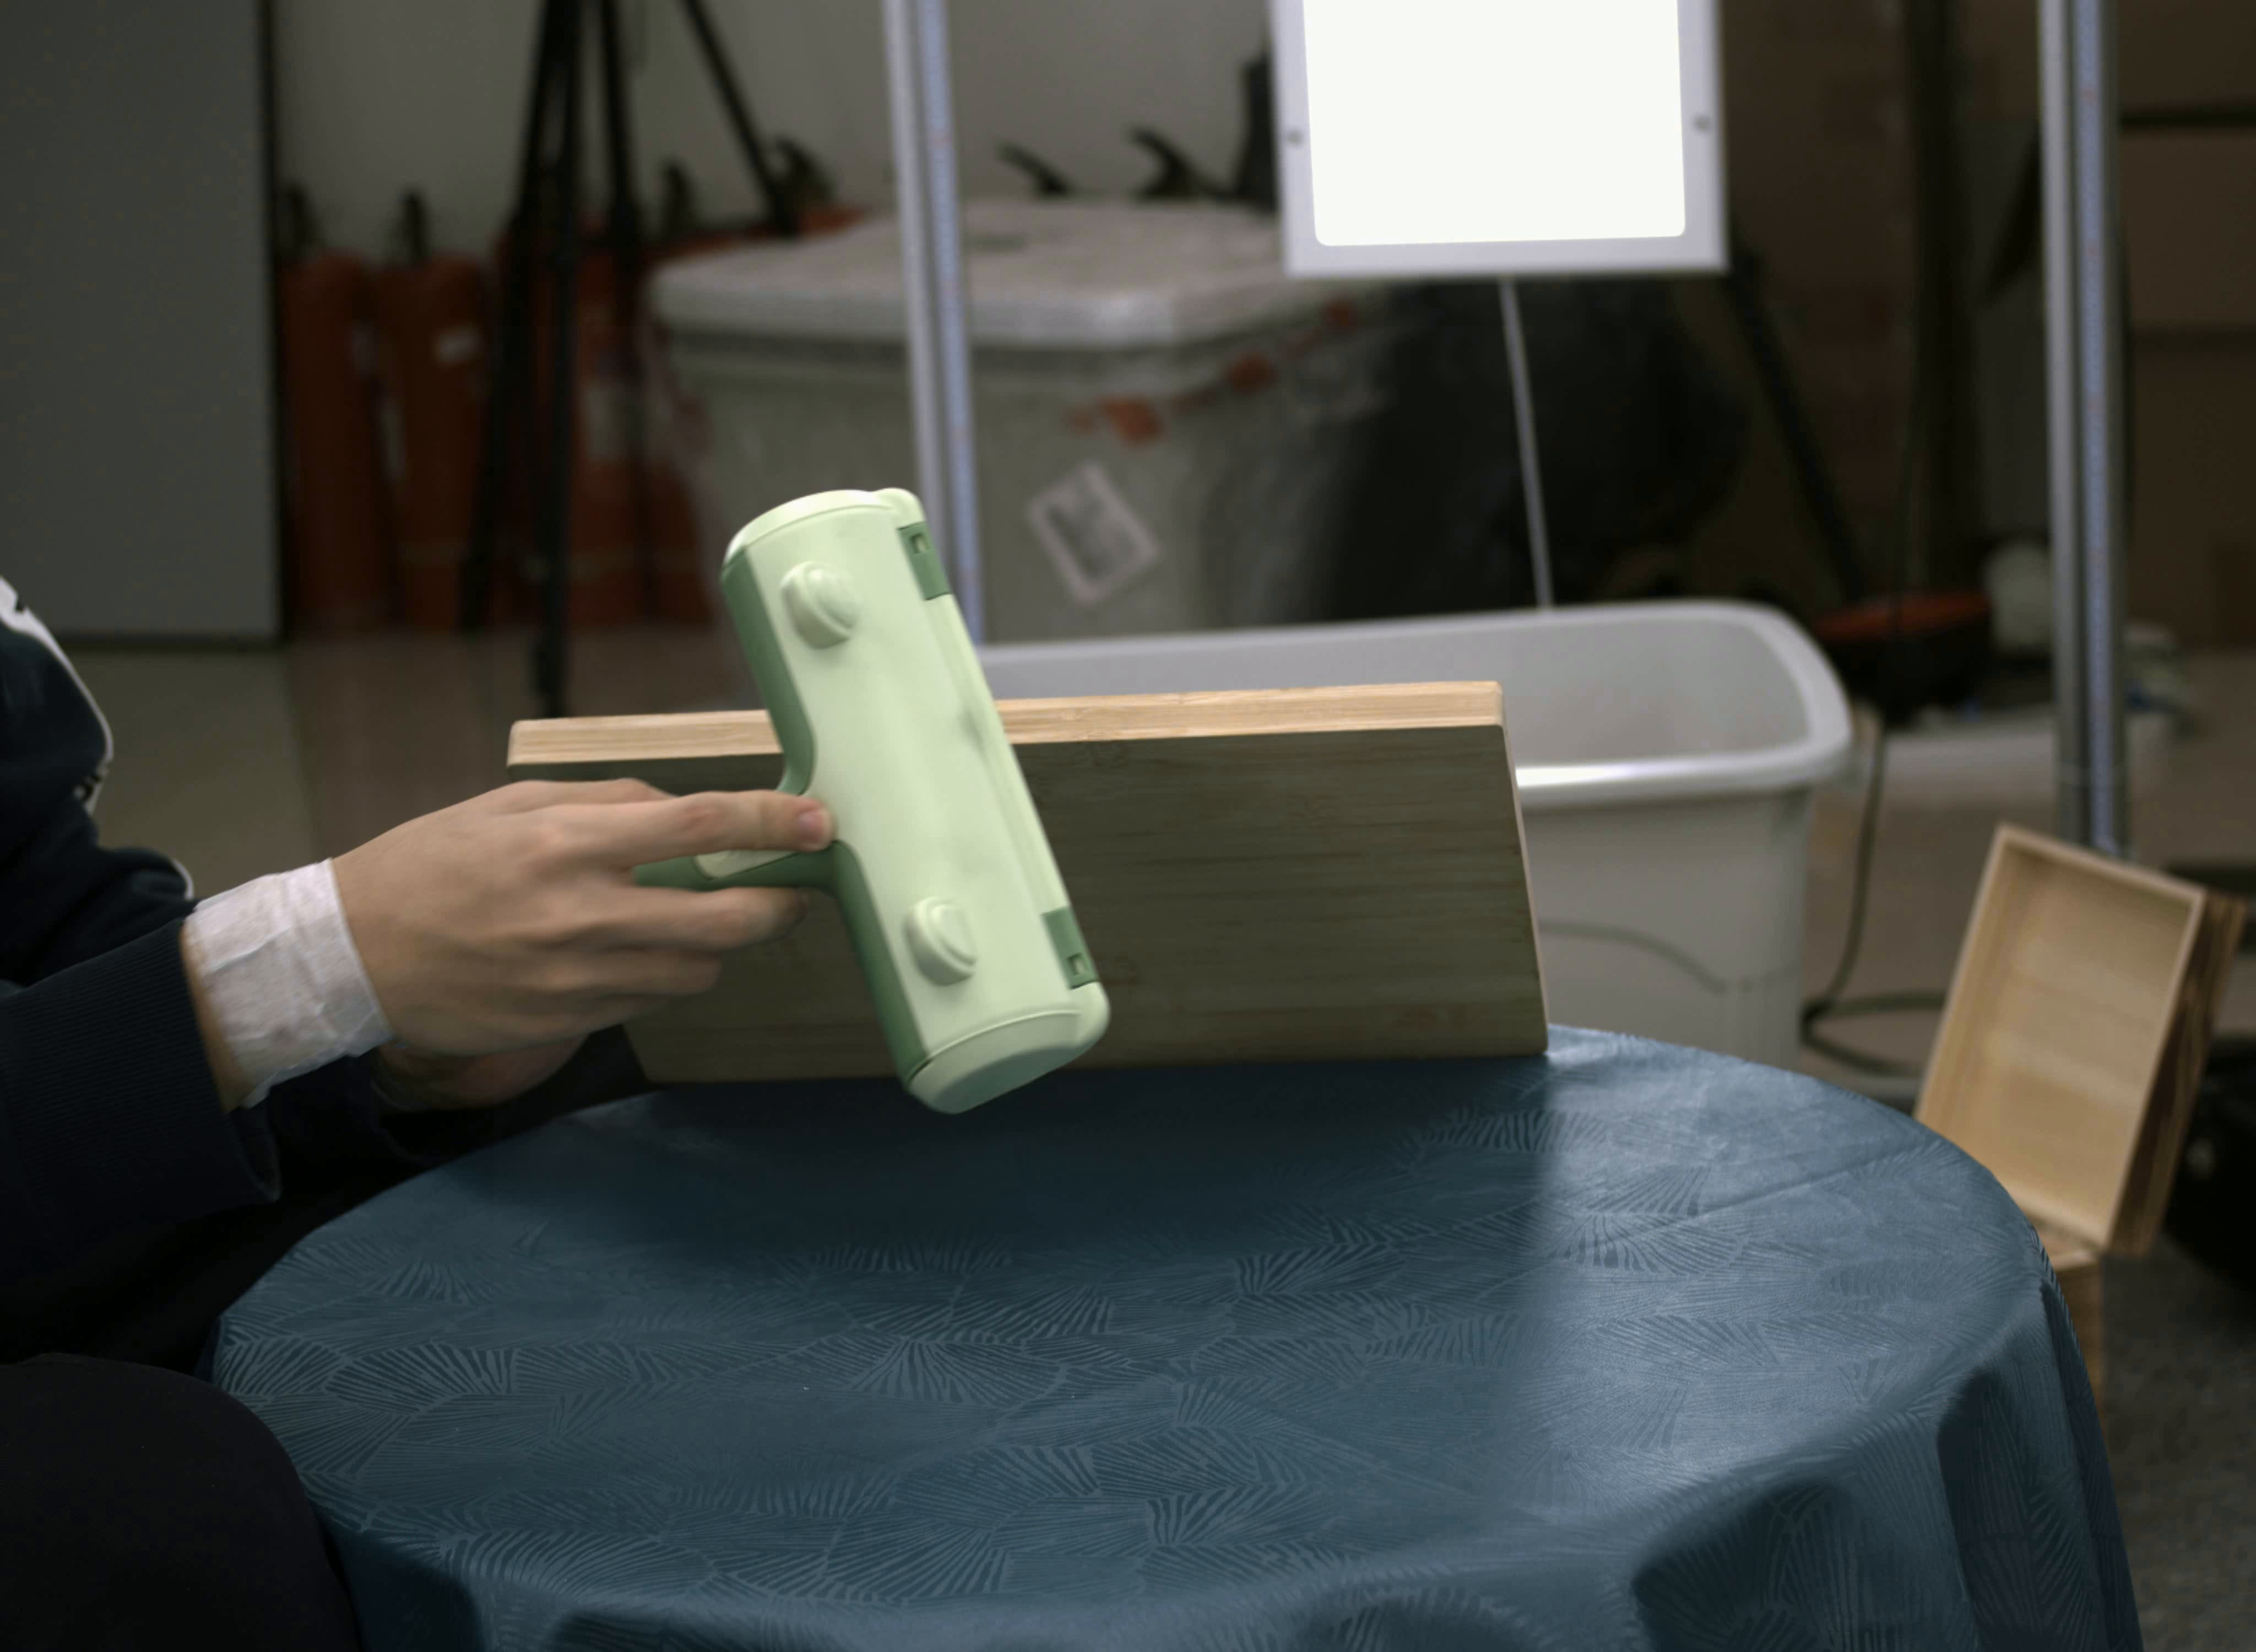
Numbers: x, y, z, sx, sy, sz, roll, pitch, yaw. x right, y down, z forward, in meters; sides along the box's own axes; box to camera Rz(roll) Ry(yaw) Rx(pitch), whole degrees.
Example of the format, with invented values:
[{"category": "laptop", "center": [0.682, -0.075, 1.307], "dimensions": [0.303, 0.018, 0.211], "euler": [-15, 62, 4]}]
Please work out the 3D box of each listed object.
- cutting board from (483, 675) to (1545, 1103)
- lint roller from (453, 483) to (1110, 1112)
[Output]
[{"category": "cutting board", "center": [-0.033, 0.027, 1.945], "dimensions": [0.350, 0.023, 0.250], "euler": [-2, -31, 9]}, {"category": "lint roller", "center": [-0.121, 0.004, 1.696], "dimensions": [0.181, 0.199, 0.082], "euler": [-18, -18, -8]}]
